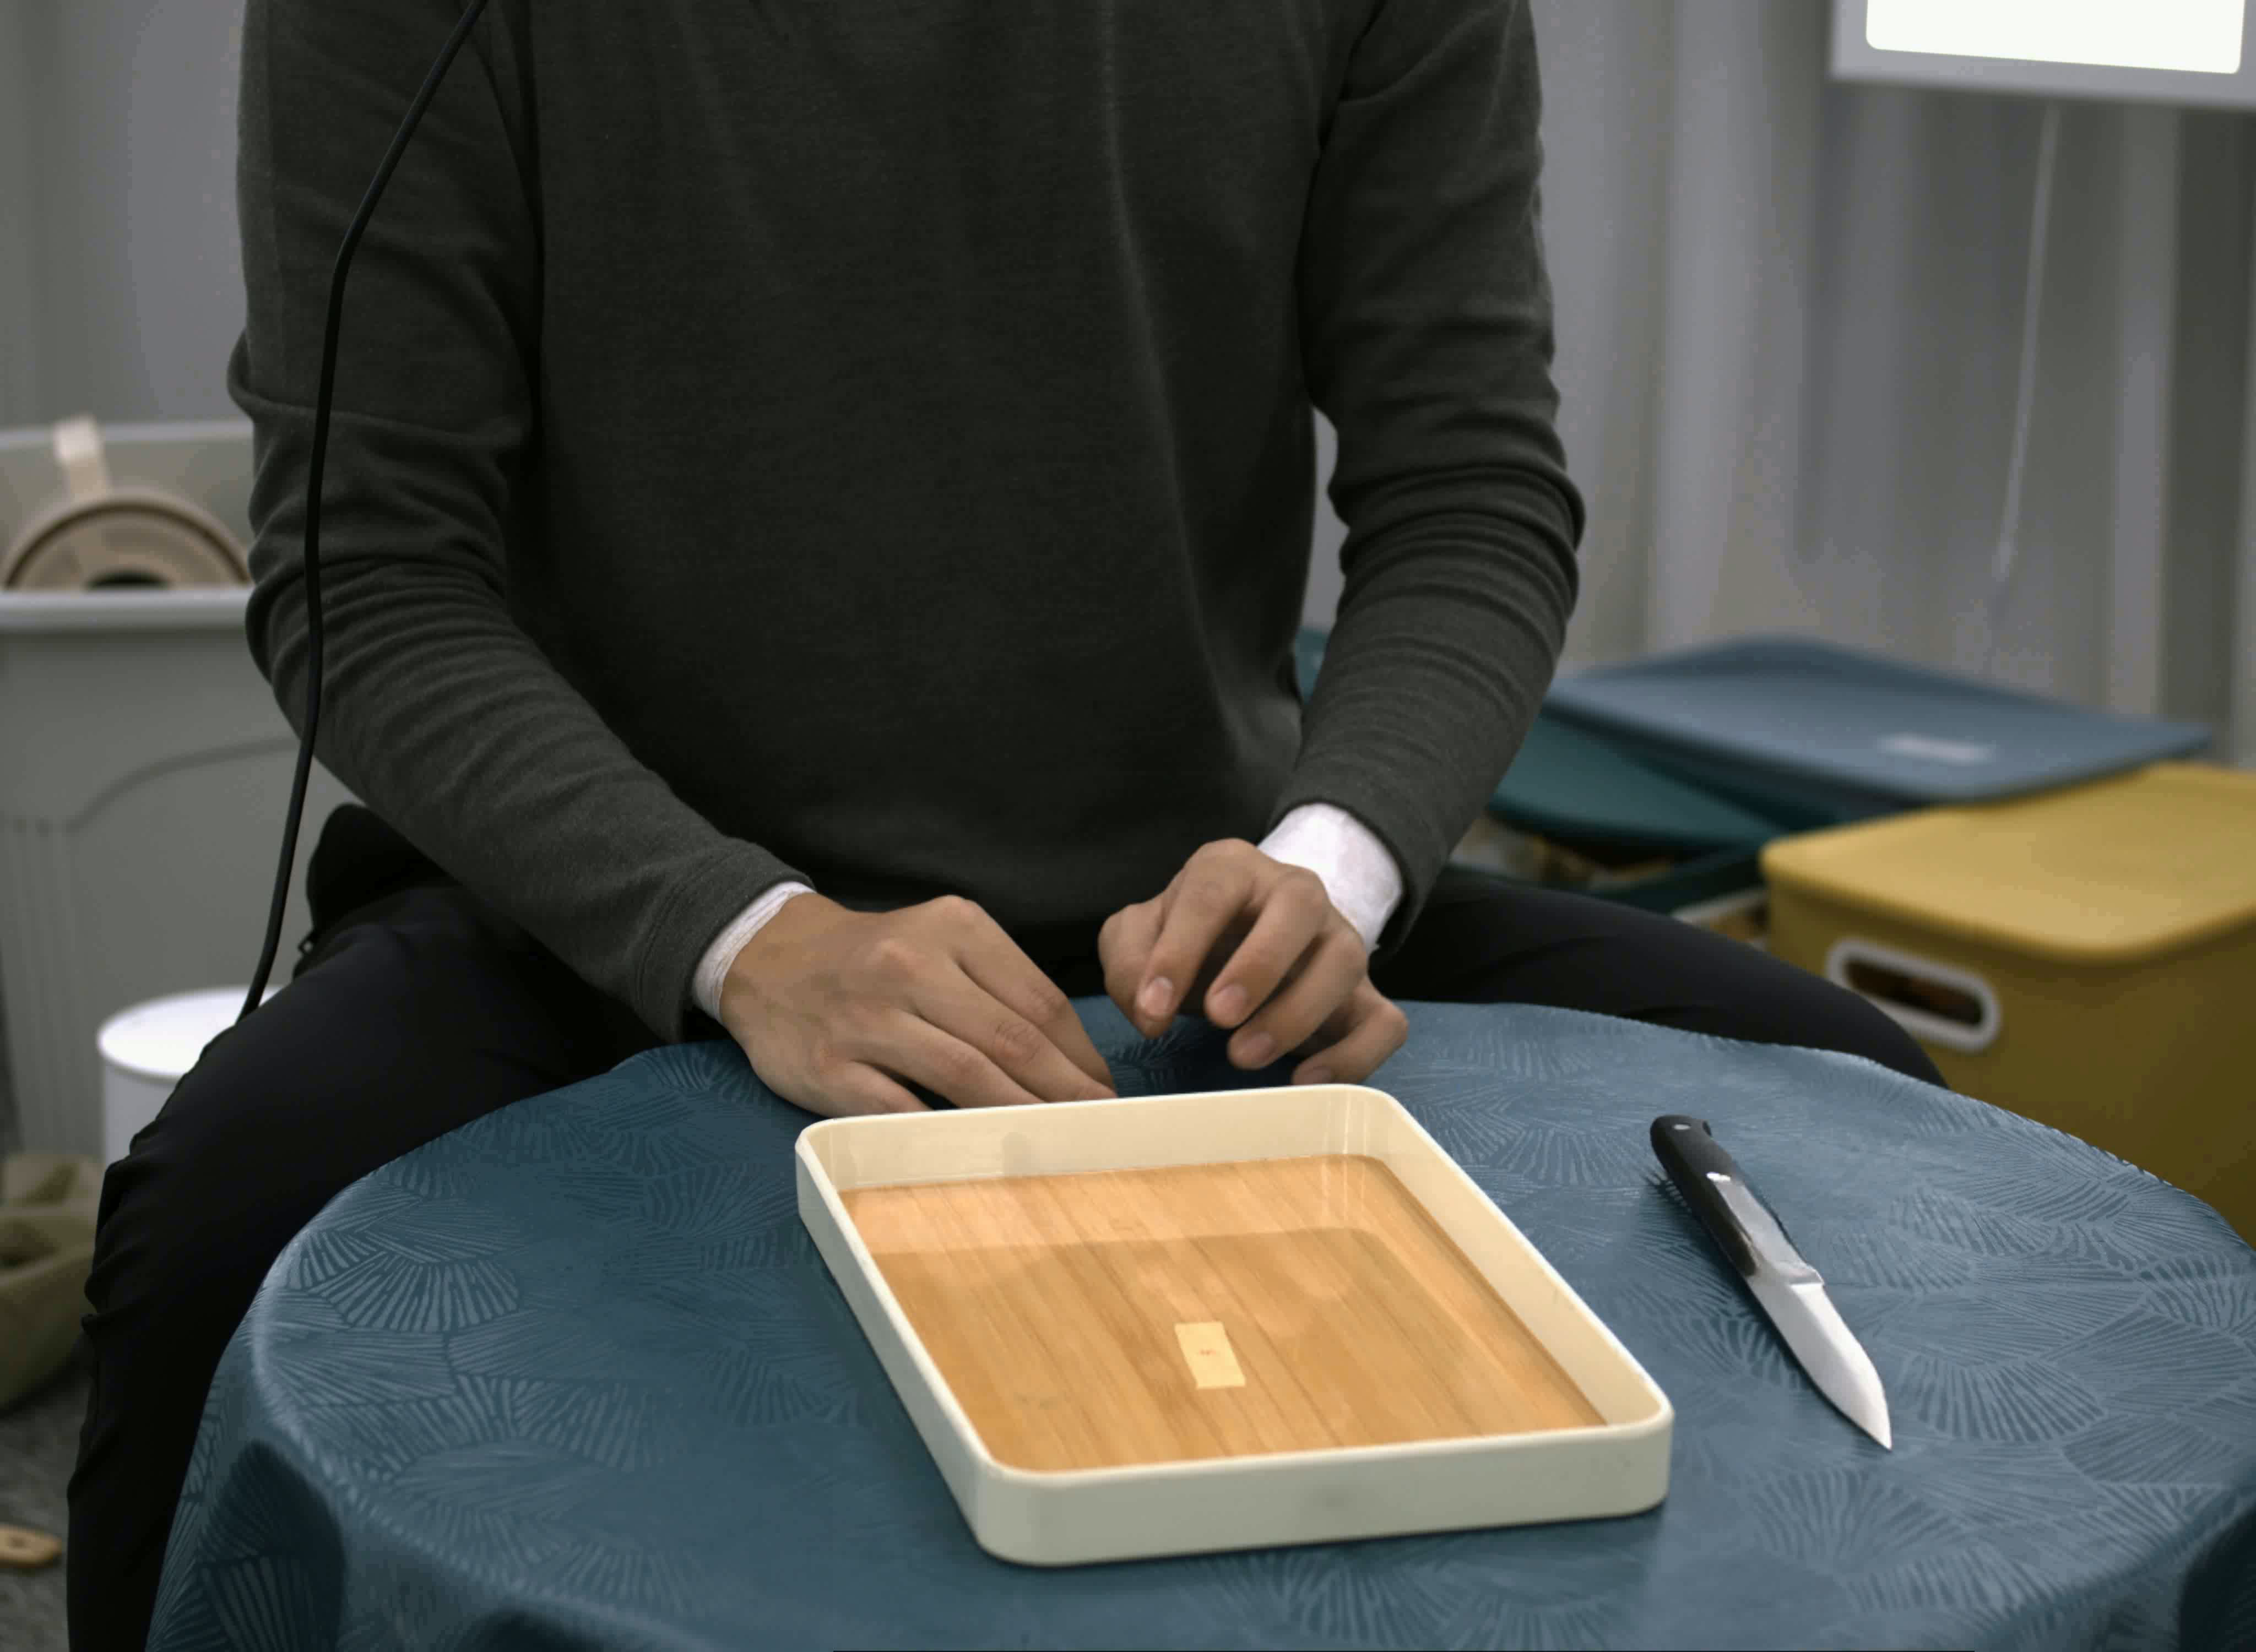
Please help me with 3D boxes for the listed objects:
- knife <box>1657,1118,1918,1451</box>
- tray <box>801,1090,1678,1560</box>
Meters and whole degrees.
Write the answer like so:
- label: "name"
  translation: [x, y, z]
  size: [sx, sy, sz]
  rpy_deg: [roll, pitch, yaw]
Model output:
- label: "knife"
  translation: [0.190, 0.133, 1.536]
  size: [0.024, 0.016, 0.236]
  rpy_deg: [-6, 19, -8]
- label: "tray"
  translation: [0.023, 0.136, 1.492]
  size: [0.192, 0.027, 0.297]
  rpy_deg: [-2, 15, -13]
